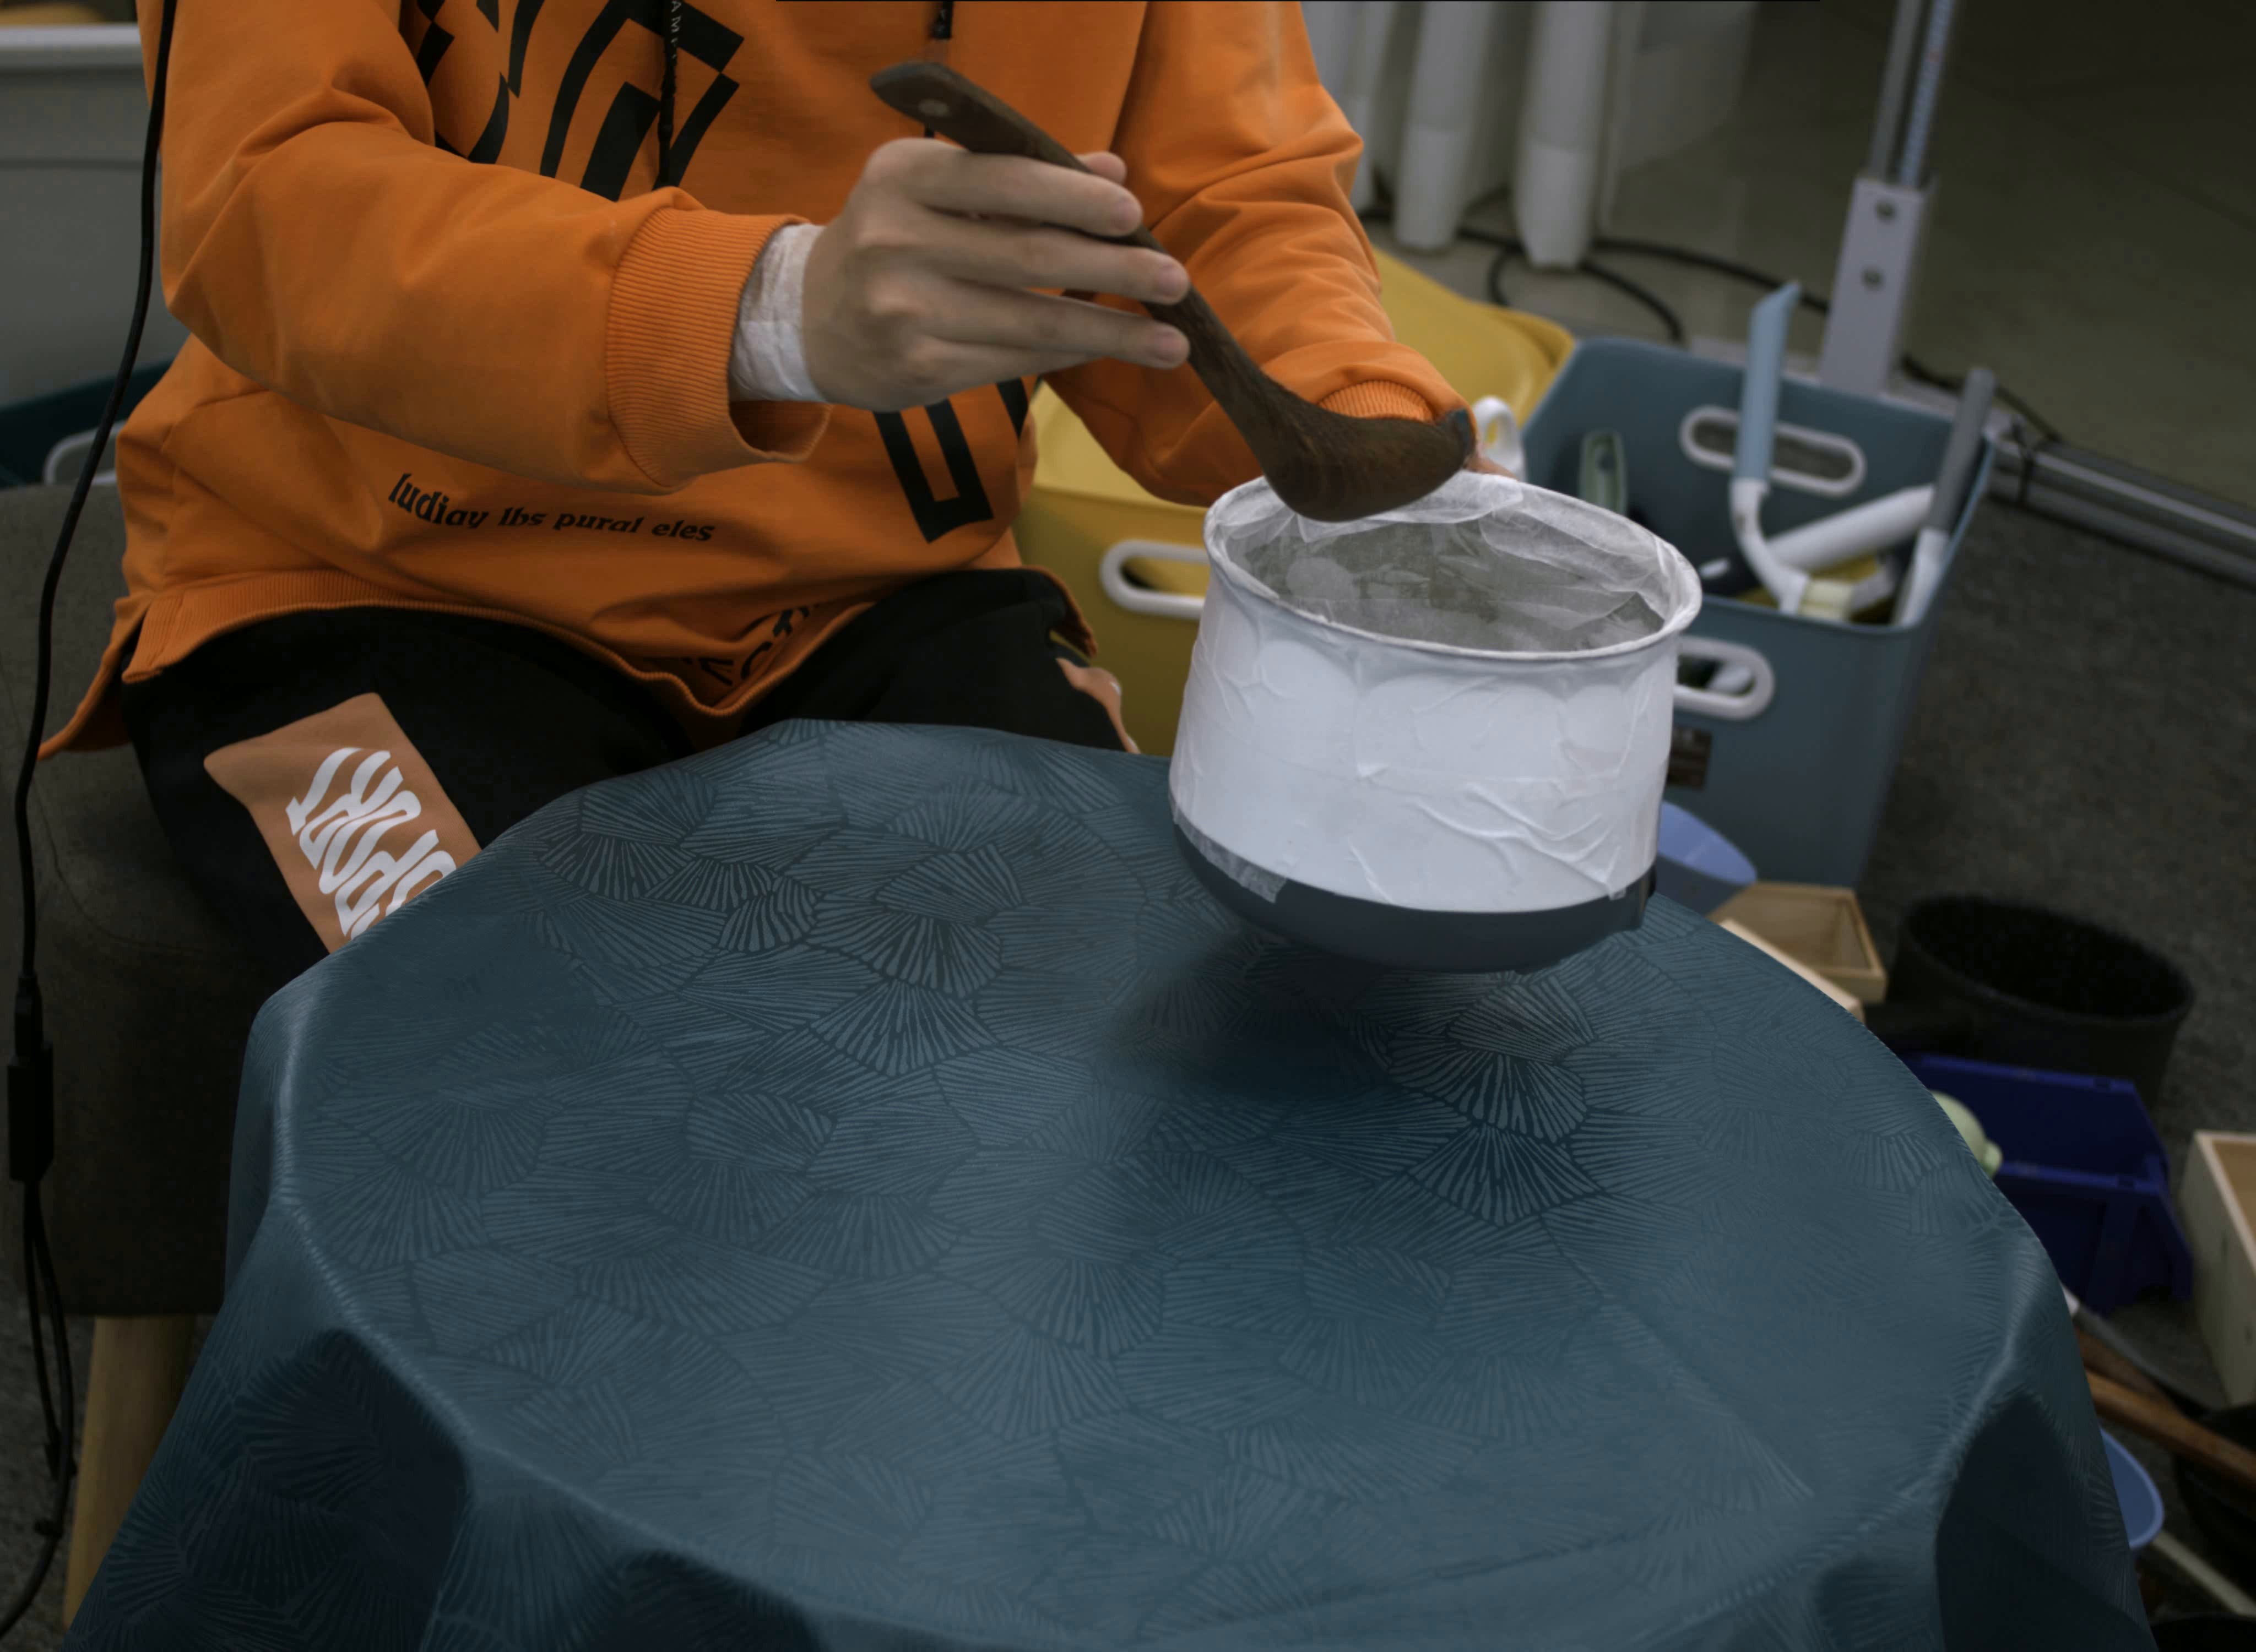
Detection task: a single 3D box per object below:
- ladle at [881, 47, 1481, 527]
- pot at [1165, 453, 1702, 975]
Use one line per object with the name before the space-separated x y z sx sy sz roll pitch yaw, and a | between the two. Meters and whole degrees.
ladle | 0.019 -0.192 1.808 0.076 0.272 0.072 -25 37 35
pot | 0.105 -0.048 1.909 0.178 0.136 0.235 7 24 -3
